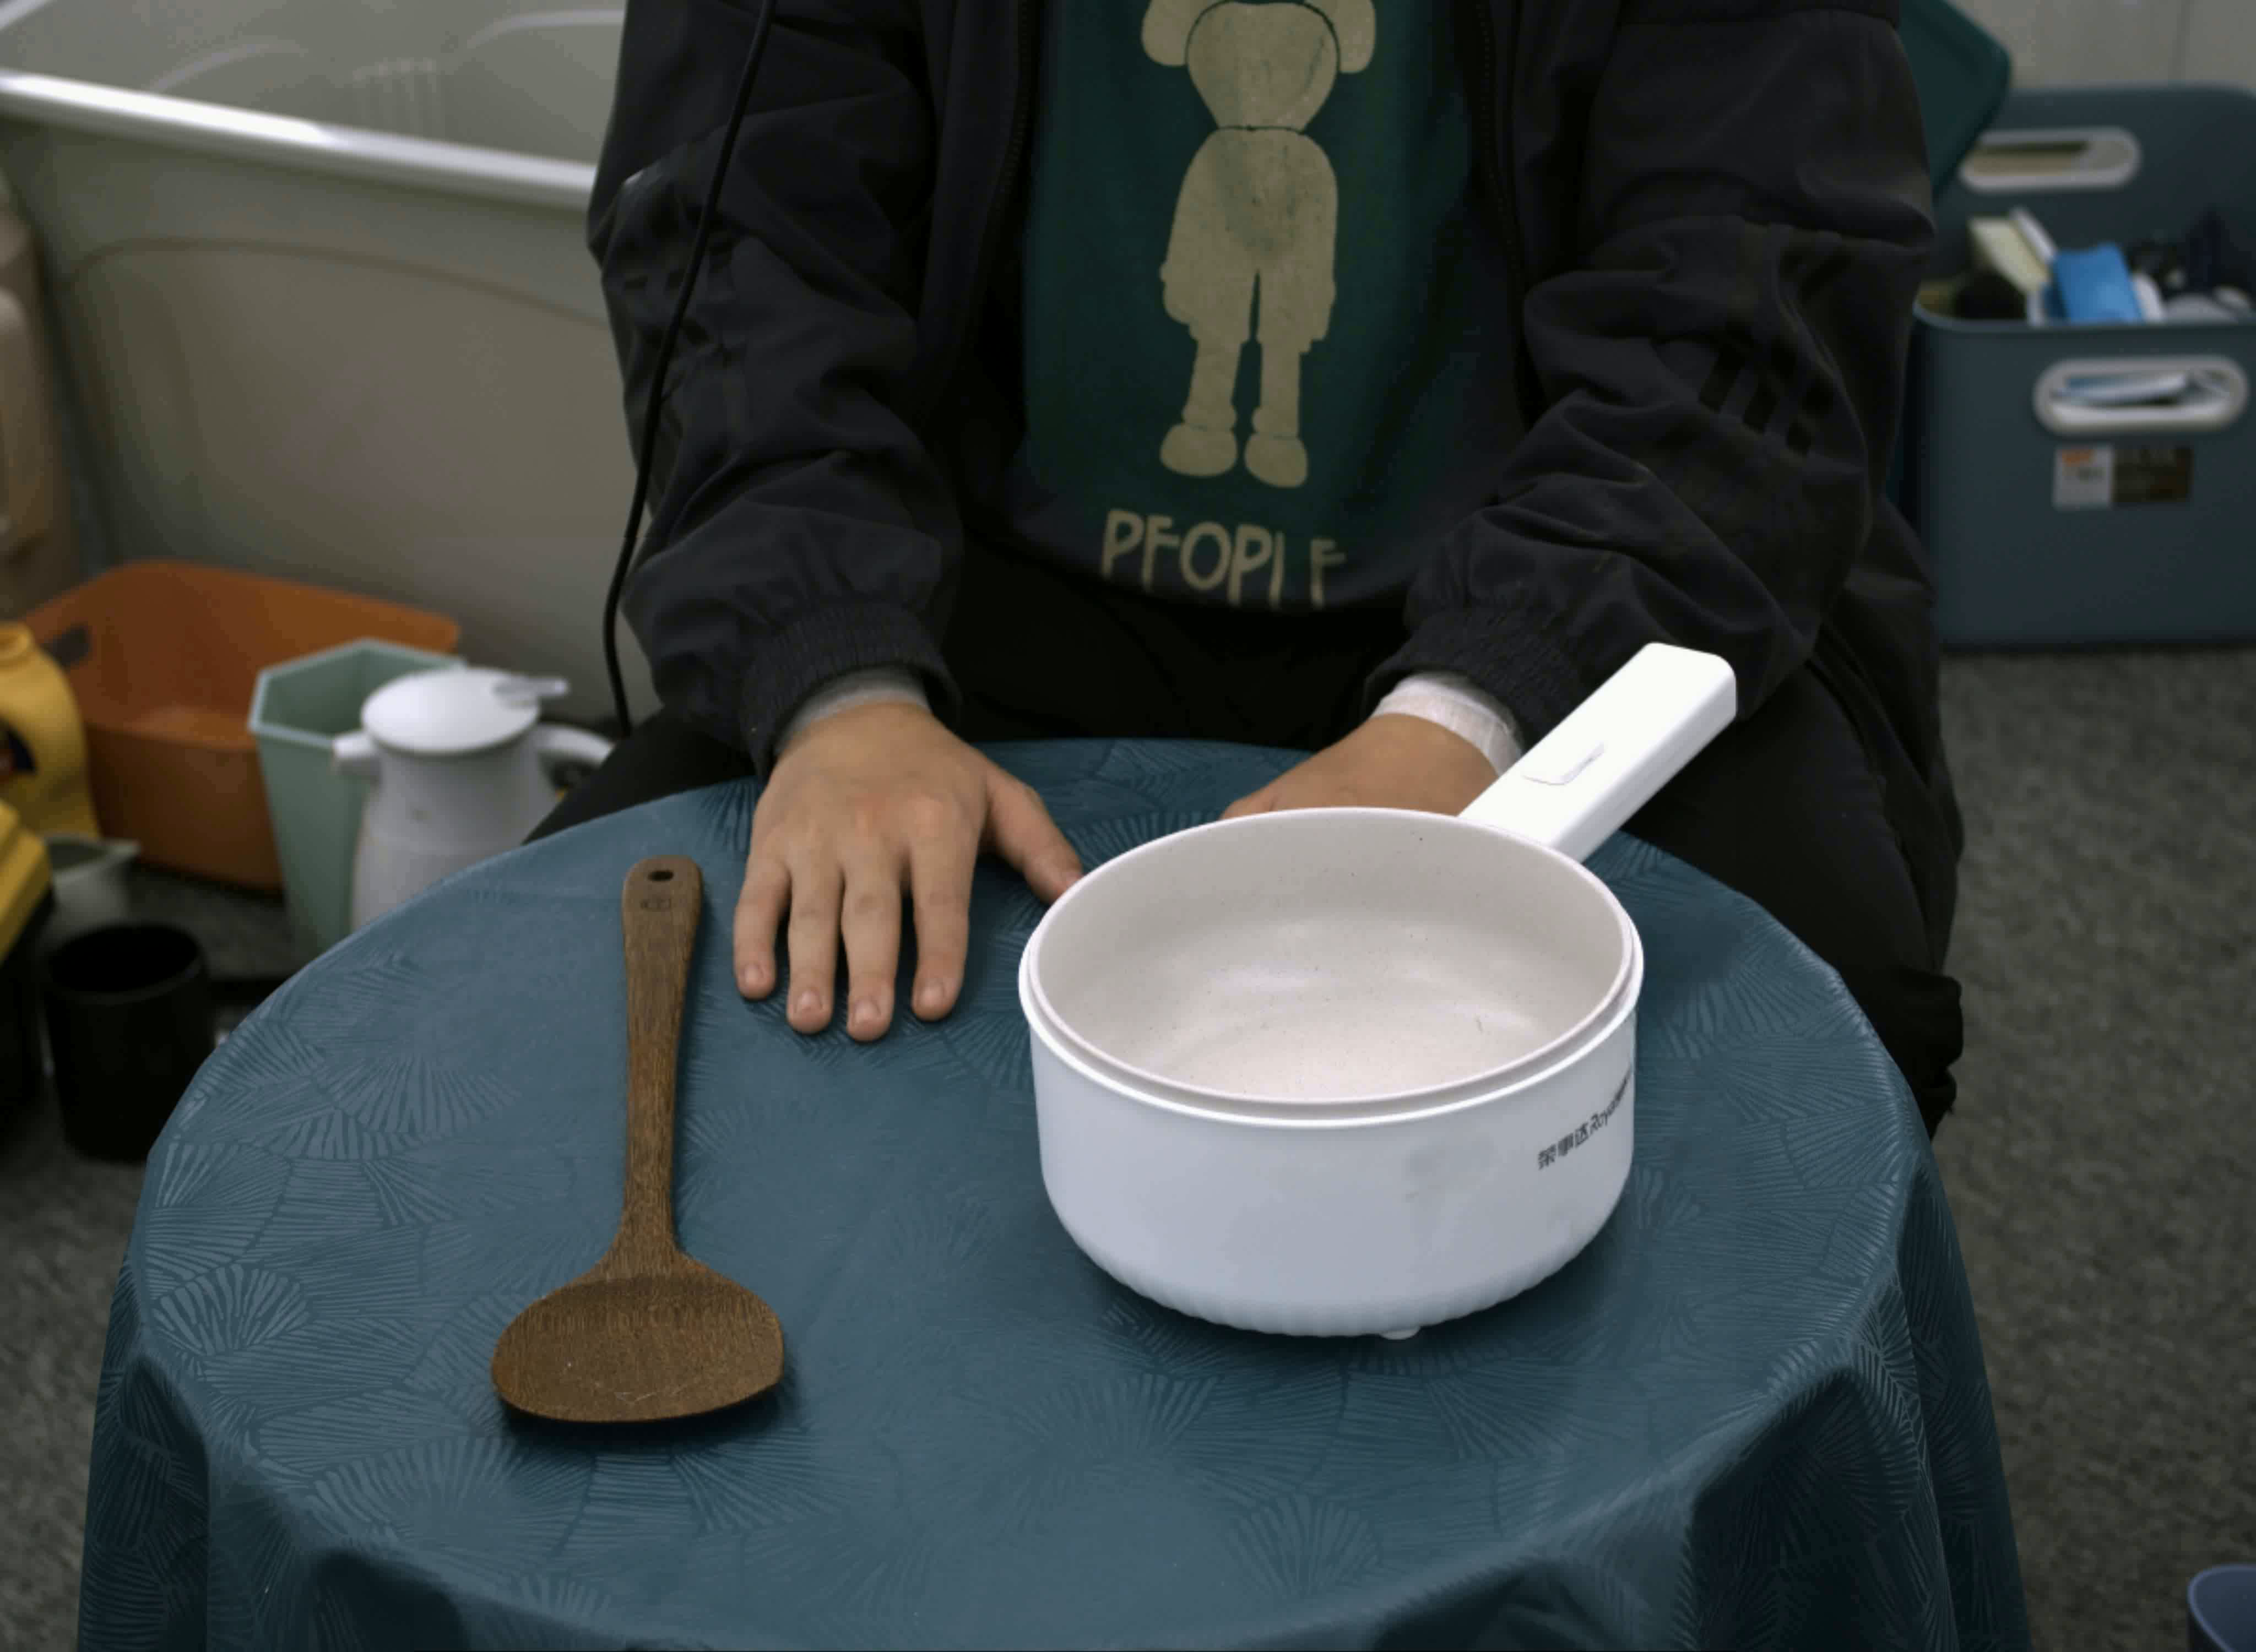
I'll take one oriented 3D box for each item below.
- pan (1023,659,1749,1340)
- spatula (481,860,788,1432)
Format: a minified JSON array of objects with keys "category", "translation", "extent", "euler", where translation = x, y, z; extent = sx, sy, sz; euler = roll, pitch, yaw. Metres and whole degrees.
[{"category":"pan","translation":[0.108,0.054,1.877],"extent":[0.200,0.101,0.360],"euler":[12,29,29]},{"category":"spatula","translation":[-0.162,0.100,1.901],"extent":[0.096,0.015,0.391],"euler":[-3,27,-2]}]
